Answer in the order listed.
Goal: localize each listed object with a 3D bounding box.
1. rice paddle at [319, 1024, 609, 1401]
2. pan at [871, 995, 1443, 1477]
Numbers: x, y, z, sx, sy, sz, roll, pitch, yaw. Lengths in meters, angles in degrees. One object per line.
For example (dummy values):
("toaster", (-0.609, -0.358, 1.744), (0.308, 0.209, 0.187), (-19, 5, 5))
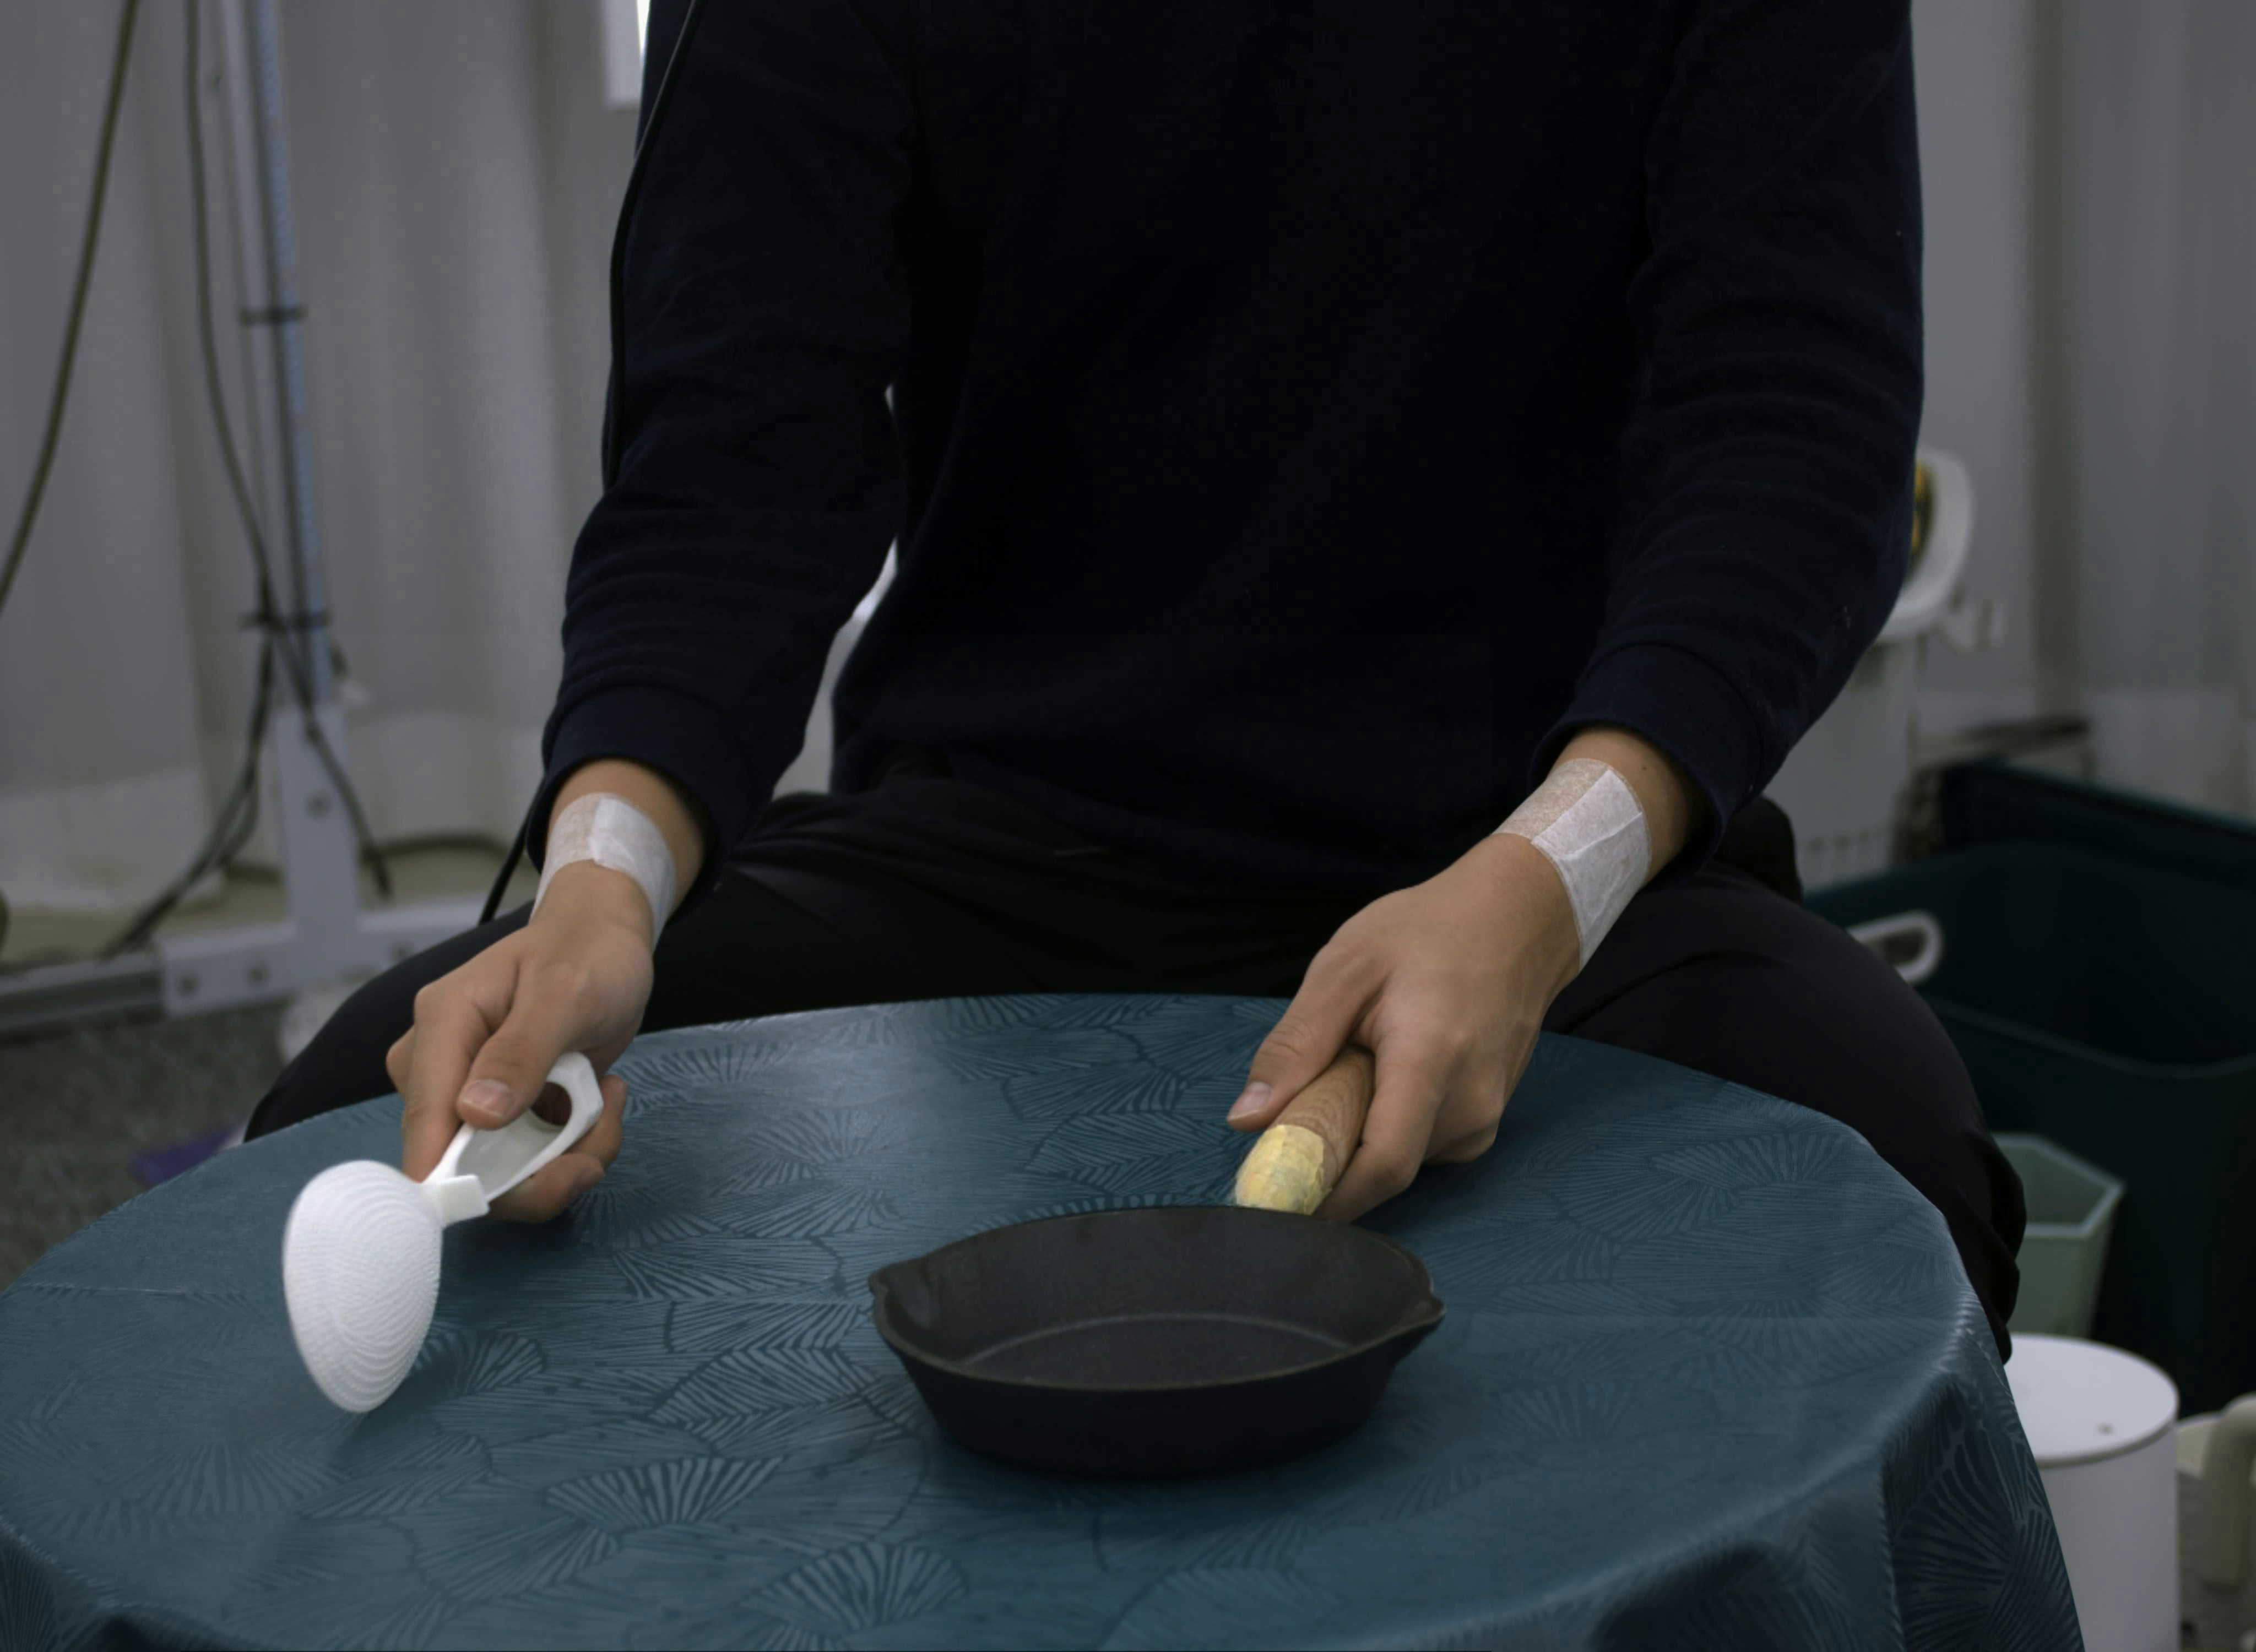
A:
("rice paddle", (-0.201, 0.109, 1.618), (0.029, 0.068, 0.206), (-2, 18, 16))
("pan", (0.038, 0.117, 1.605), (0.169, 0.049, 0.325), (2, 16, 22))
